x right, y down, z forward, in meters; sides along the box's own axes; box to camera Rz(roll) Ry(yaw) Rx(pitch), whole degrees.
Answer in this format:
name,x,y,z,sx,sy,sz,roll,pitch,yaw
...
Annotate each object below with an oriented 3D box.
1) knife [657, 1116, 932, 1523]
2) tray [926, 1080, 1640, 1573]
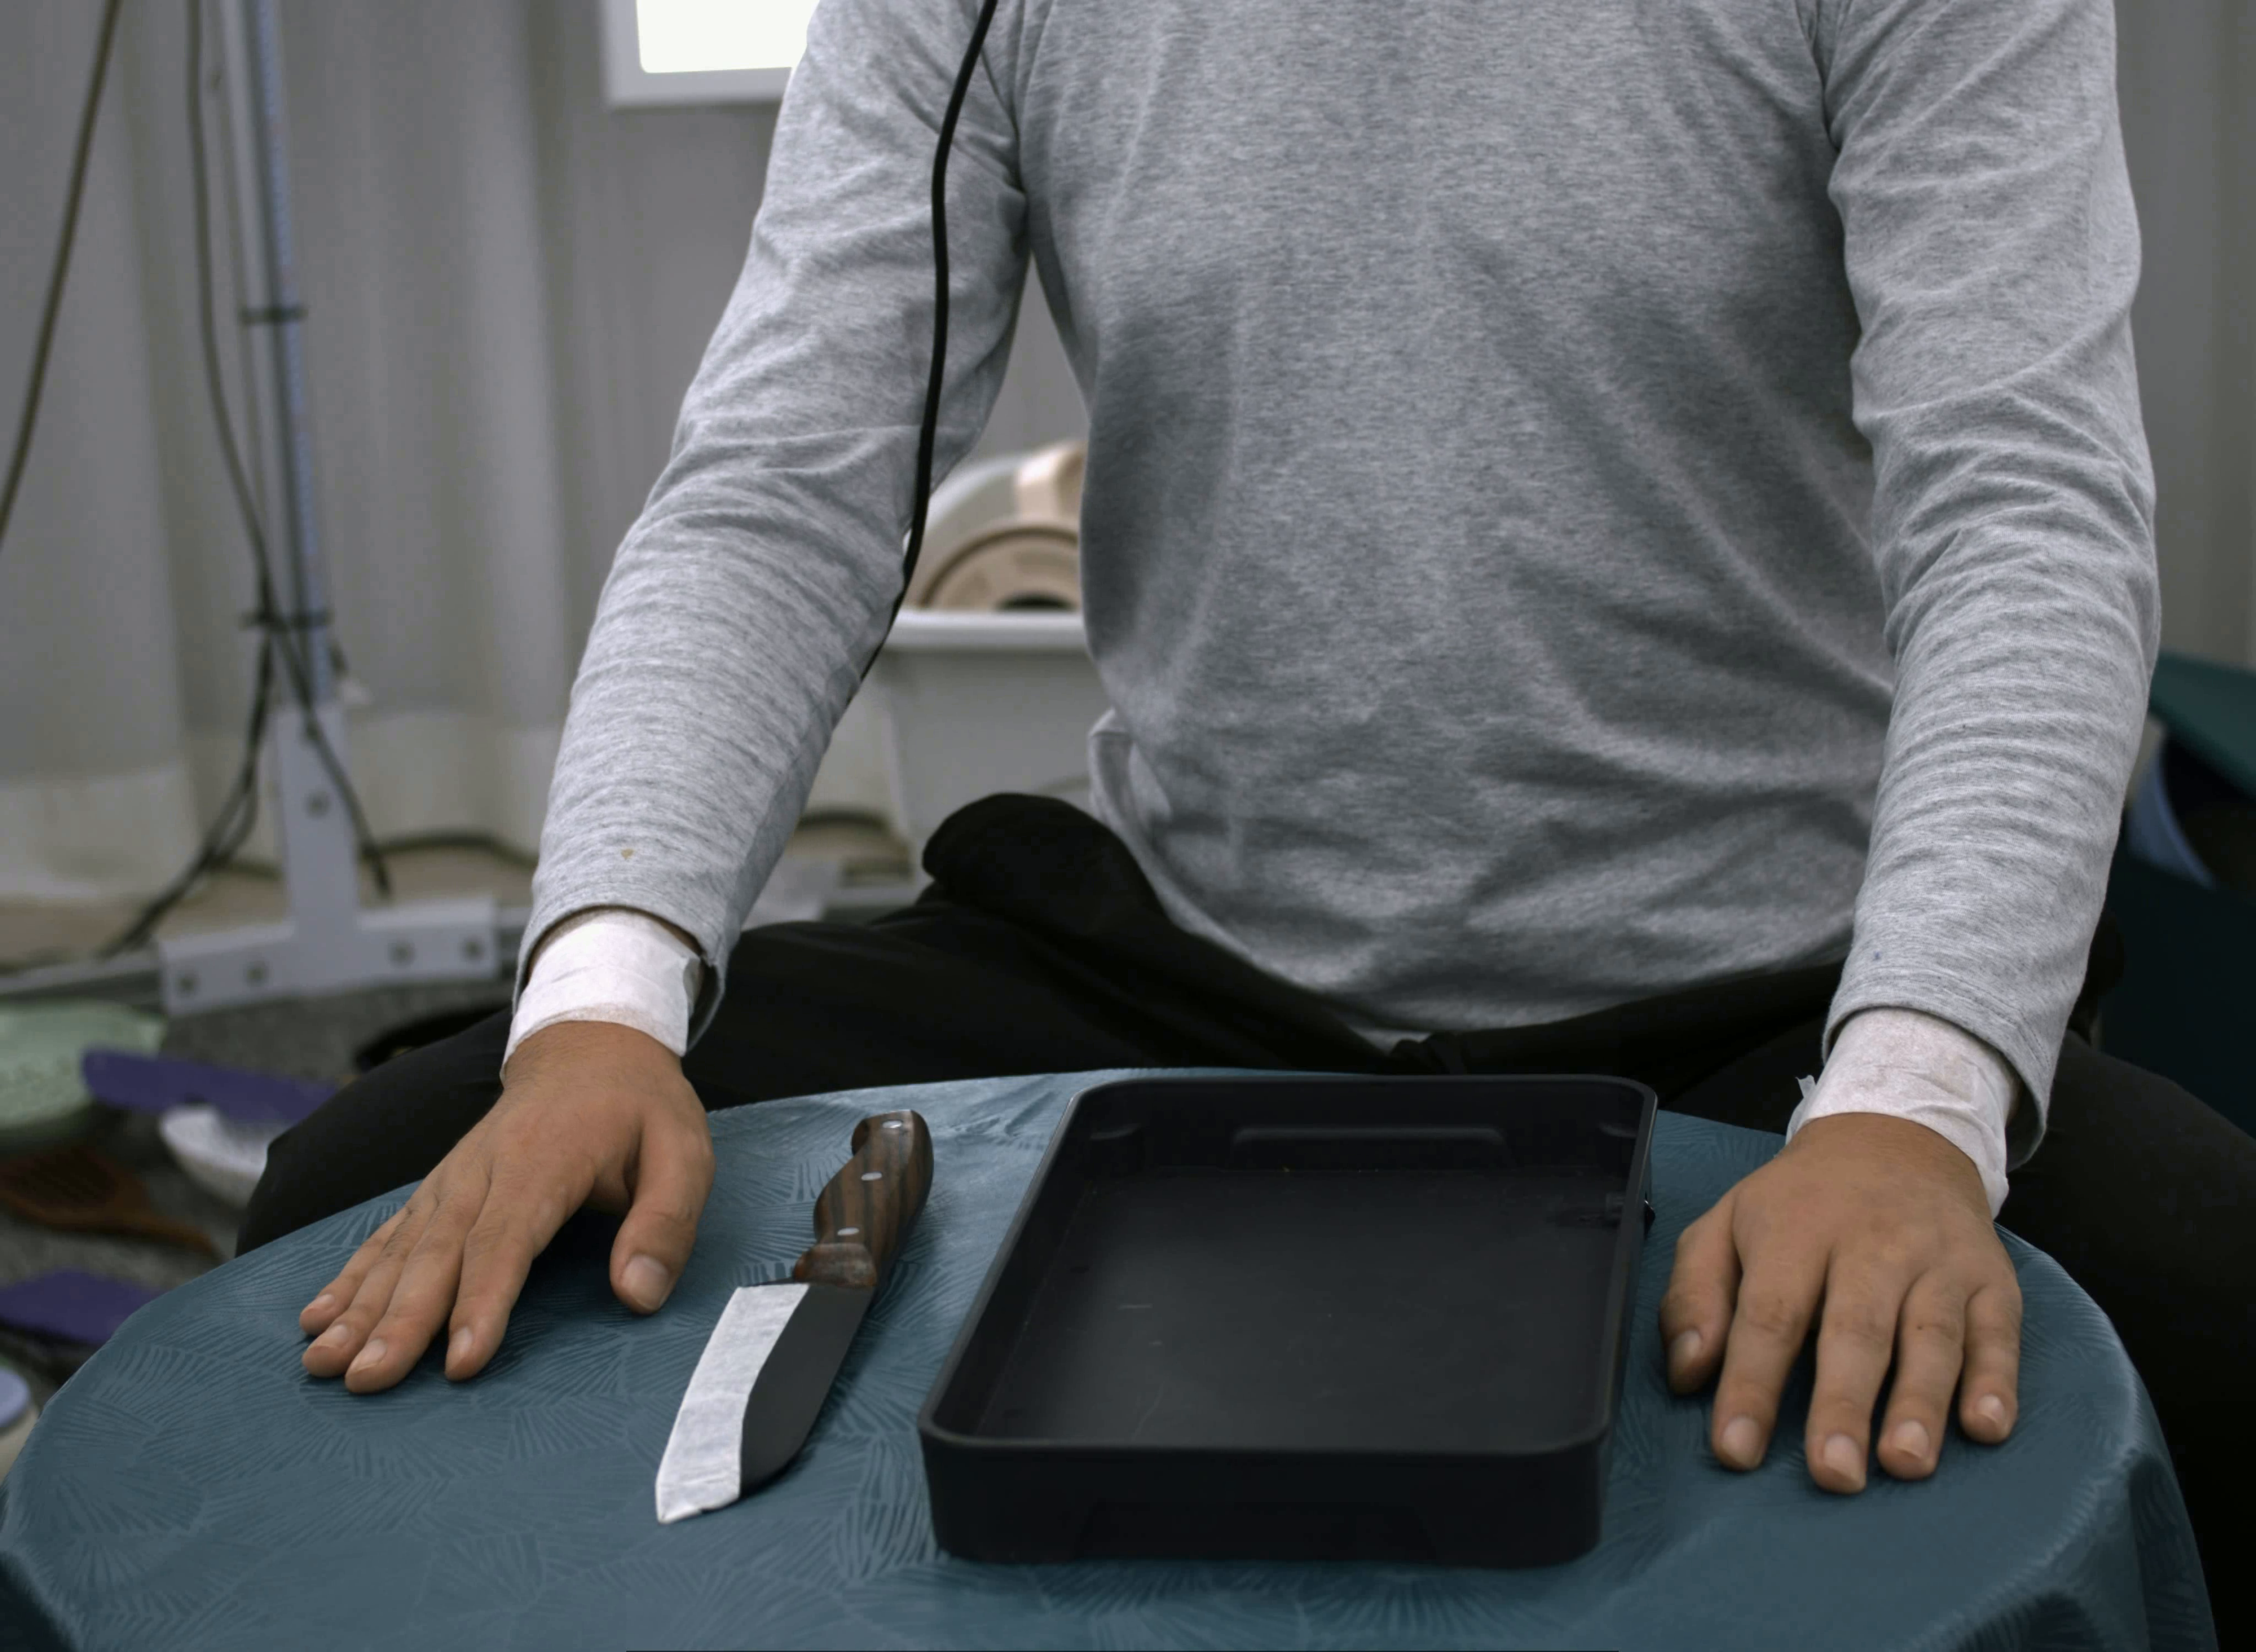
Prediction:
name,x,y,z,sx,sy,sz,roll,pitch,yaw
knife,-0.096,0.143,1.600,0.050,0.020,0.291,-5,16,12
tray,0.052,0.137,1.556,0.184,0.037,0.320,-1,14,7
